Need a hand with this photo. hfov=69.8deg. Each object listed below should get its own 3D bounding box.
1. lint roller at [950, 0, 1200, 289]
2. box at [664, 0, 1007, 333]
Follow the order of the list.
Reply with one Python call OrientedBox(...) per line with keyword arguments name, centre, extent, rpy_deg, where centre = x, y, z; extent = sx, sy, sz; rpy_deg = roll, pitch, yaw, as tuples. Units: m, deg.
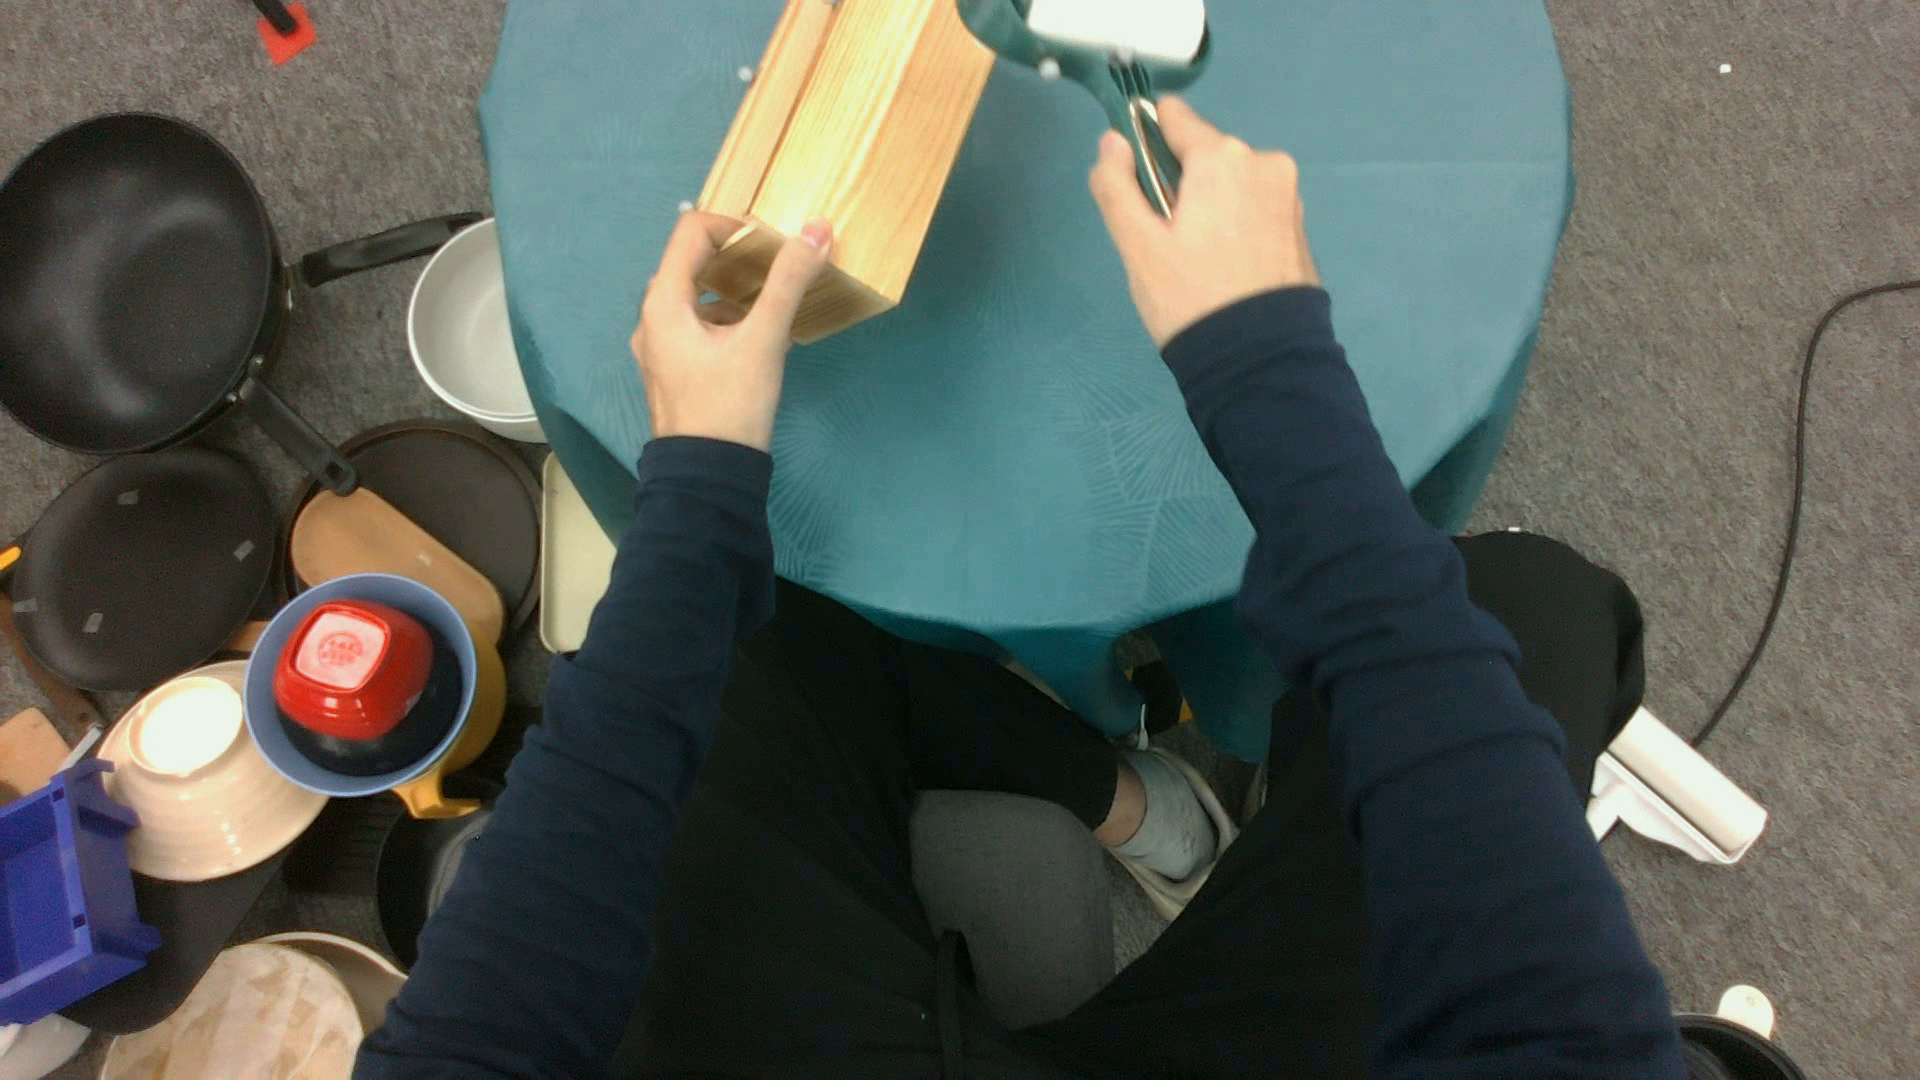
OrientedBox(name="lint roller", centre=(0.068, -0.191, 0.578), extent=(0.135, 0.048, 0.180), rpy_deg=(-8, 66, -39))
OrientedBox(name="box", centre=(-0.054, -0.221, 0.678), extent=(0.080, 0.107, 0.212), rpy_deg=(28, 72, -28))
